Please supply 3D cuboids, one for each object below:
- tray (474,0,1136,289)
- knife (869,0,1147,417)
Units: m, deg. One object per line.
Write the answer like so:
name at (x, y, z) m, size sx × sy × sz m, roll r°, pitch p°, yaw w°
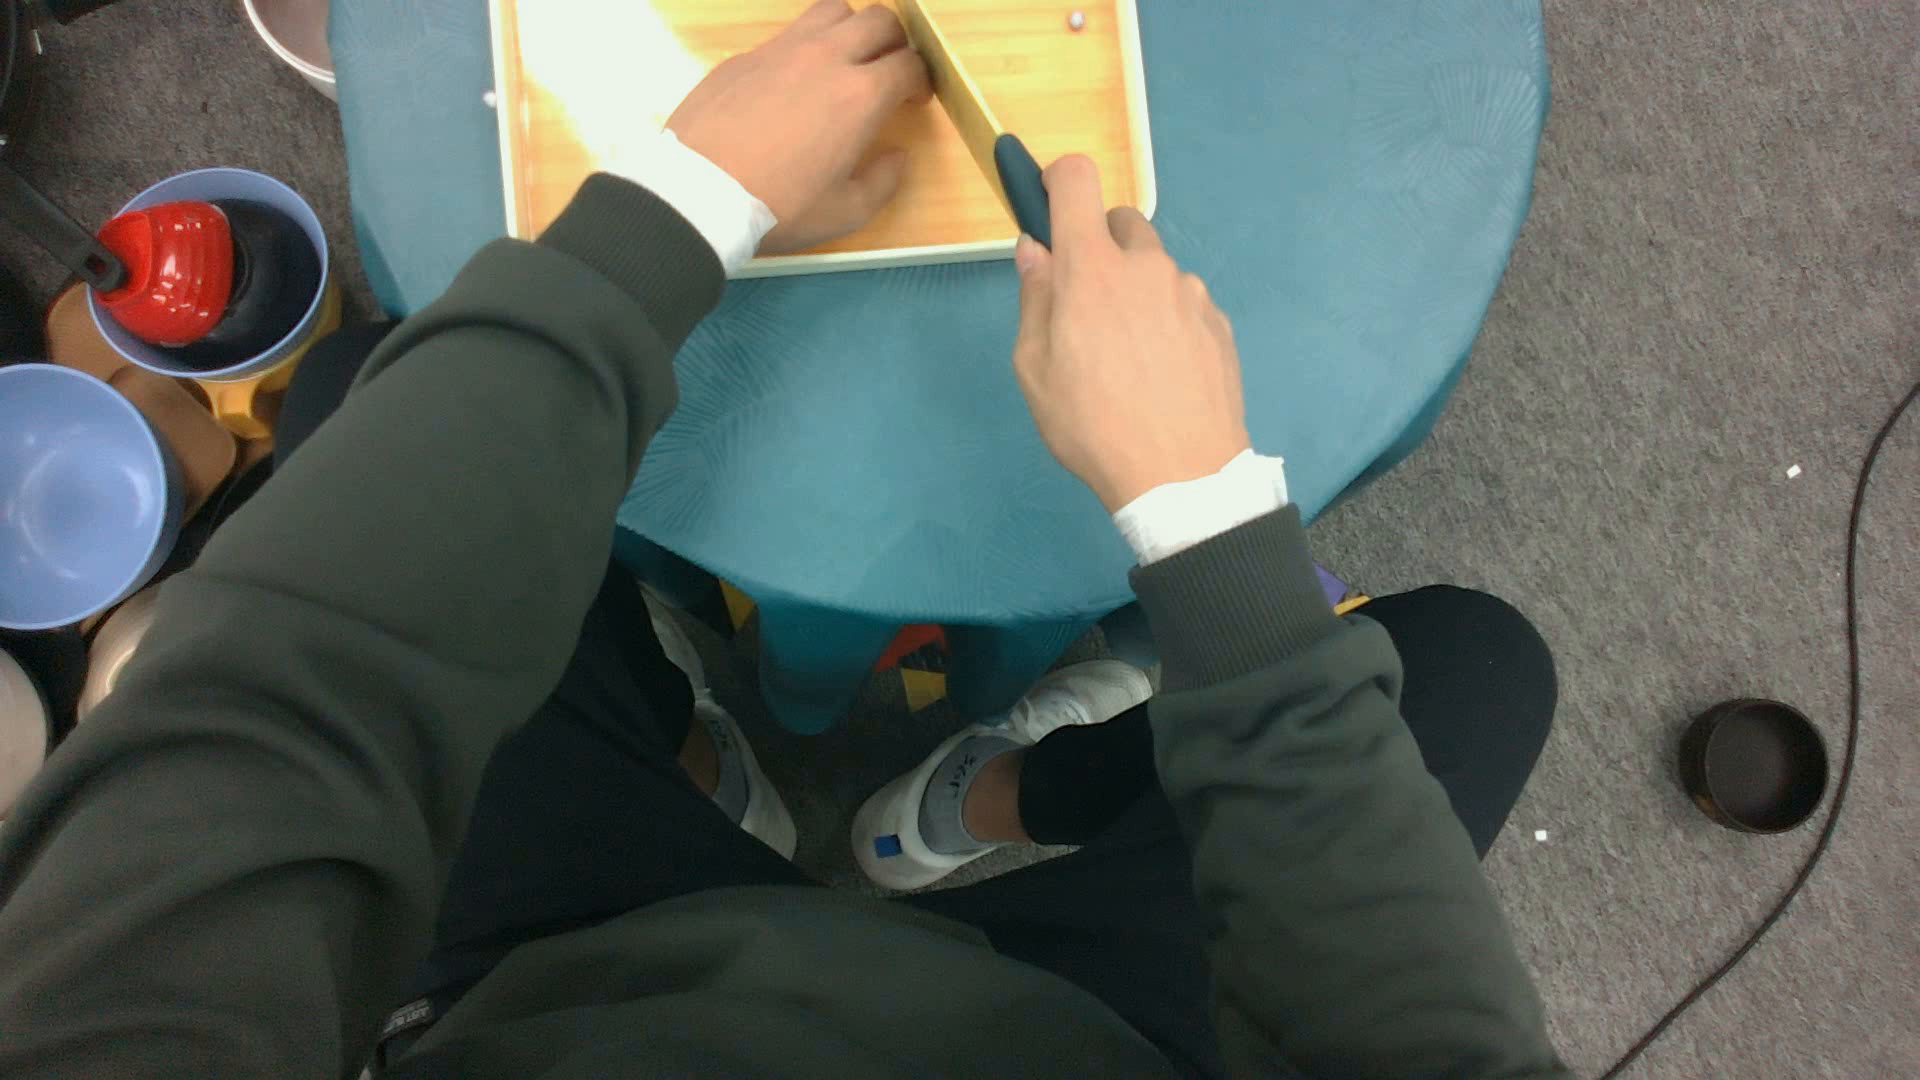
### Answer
tray at (-0.073, -0.225, 0.659) m, size 0.300 × 0.027 × 0.191 m, roll -6°, pitch 86°, yaw -6°
knife at (0.005, -0.171, 0.607) m, size 0.027 × 0.081 × 0.290 m, roll -27°, pitch 71°, yaw -2°
